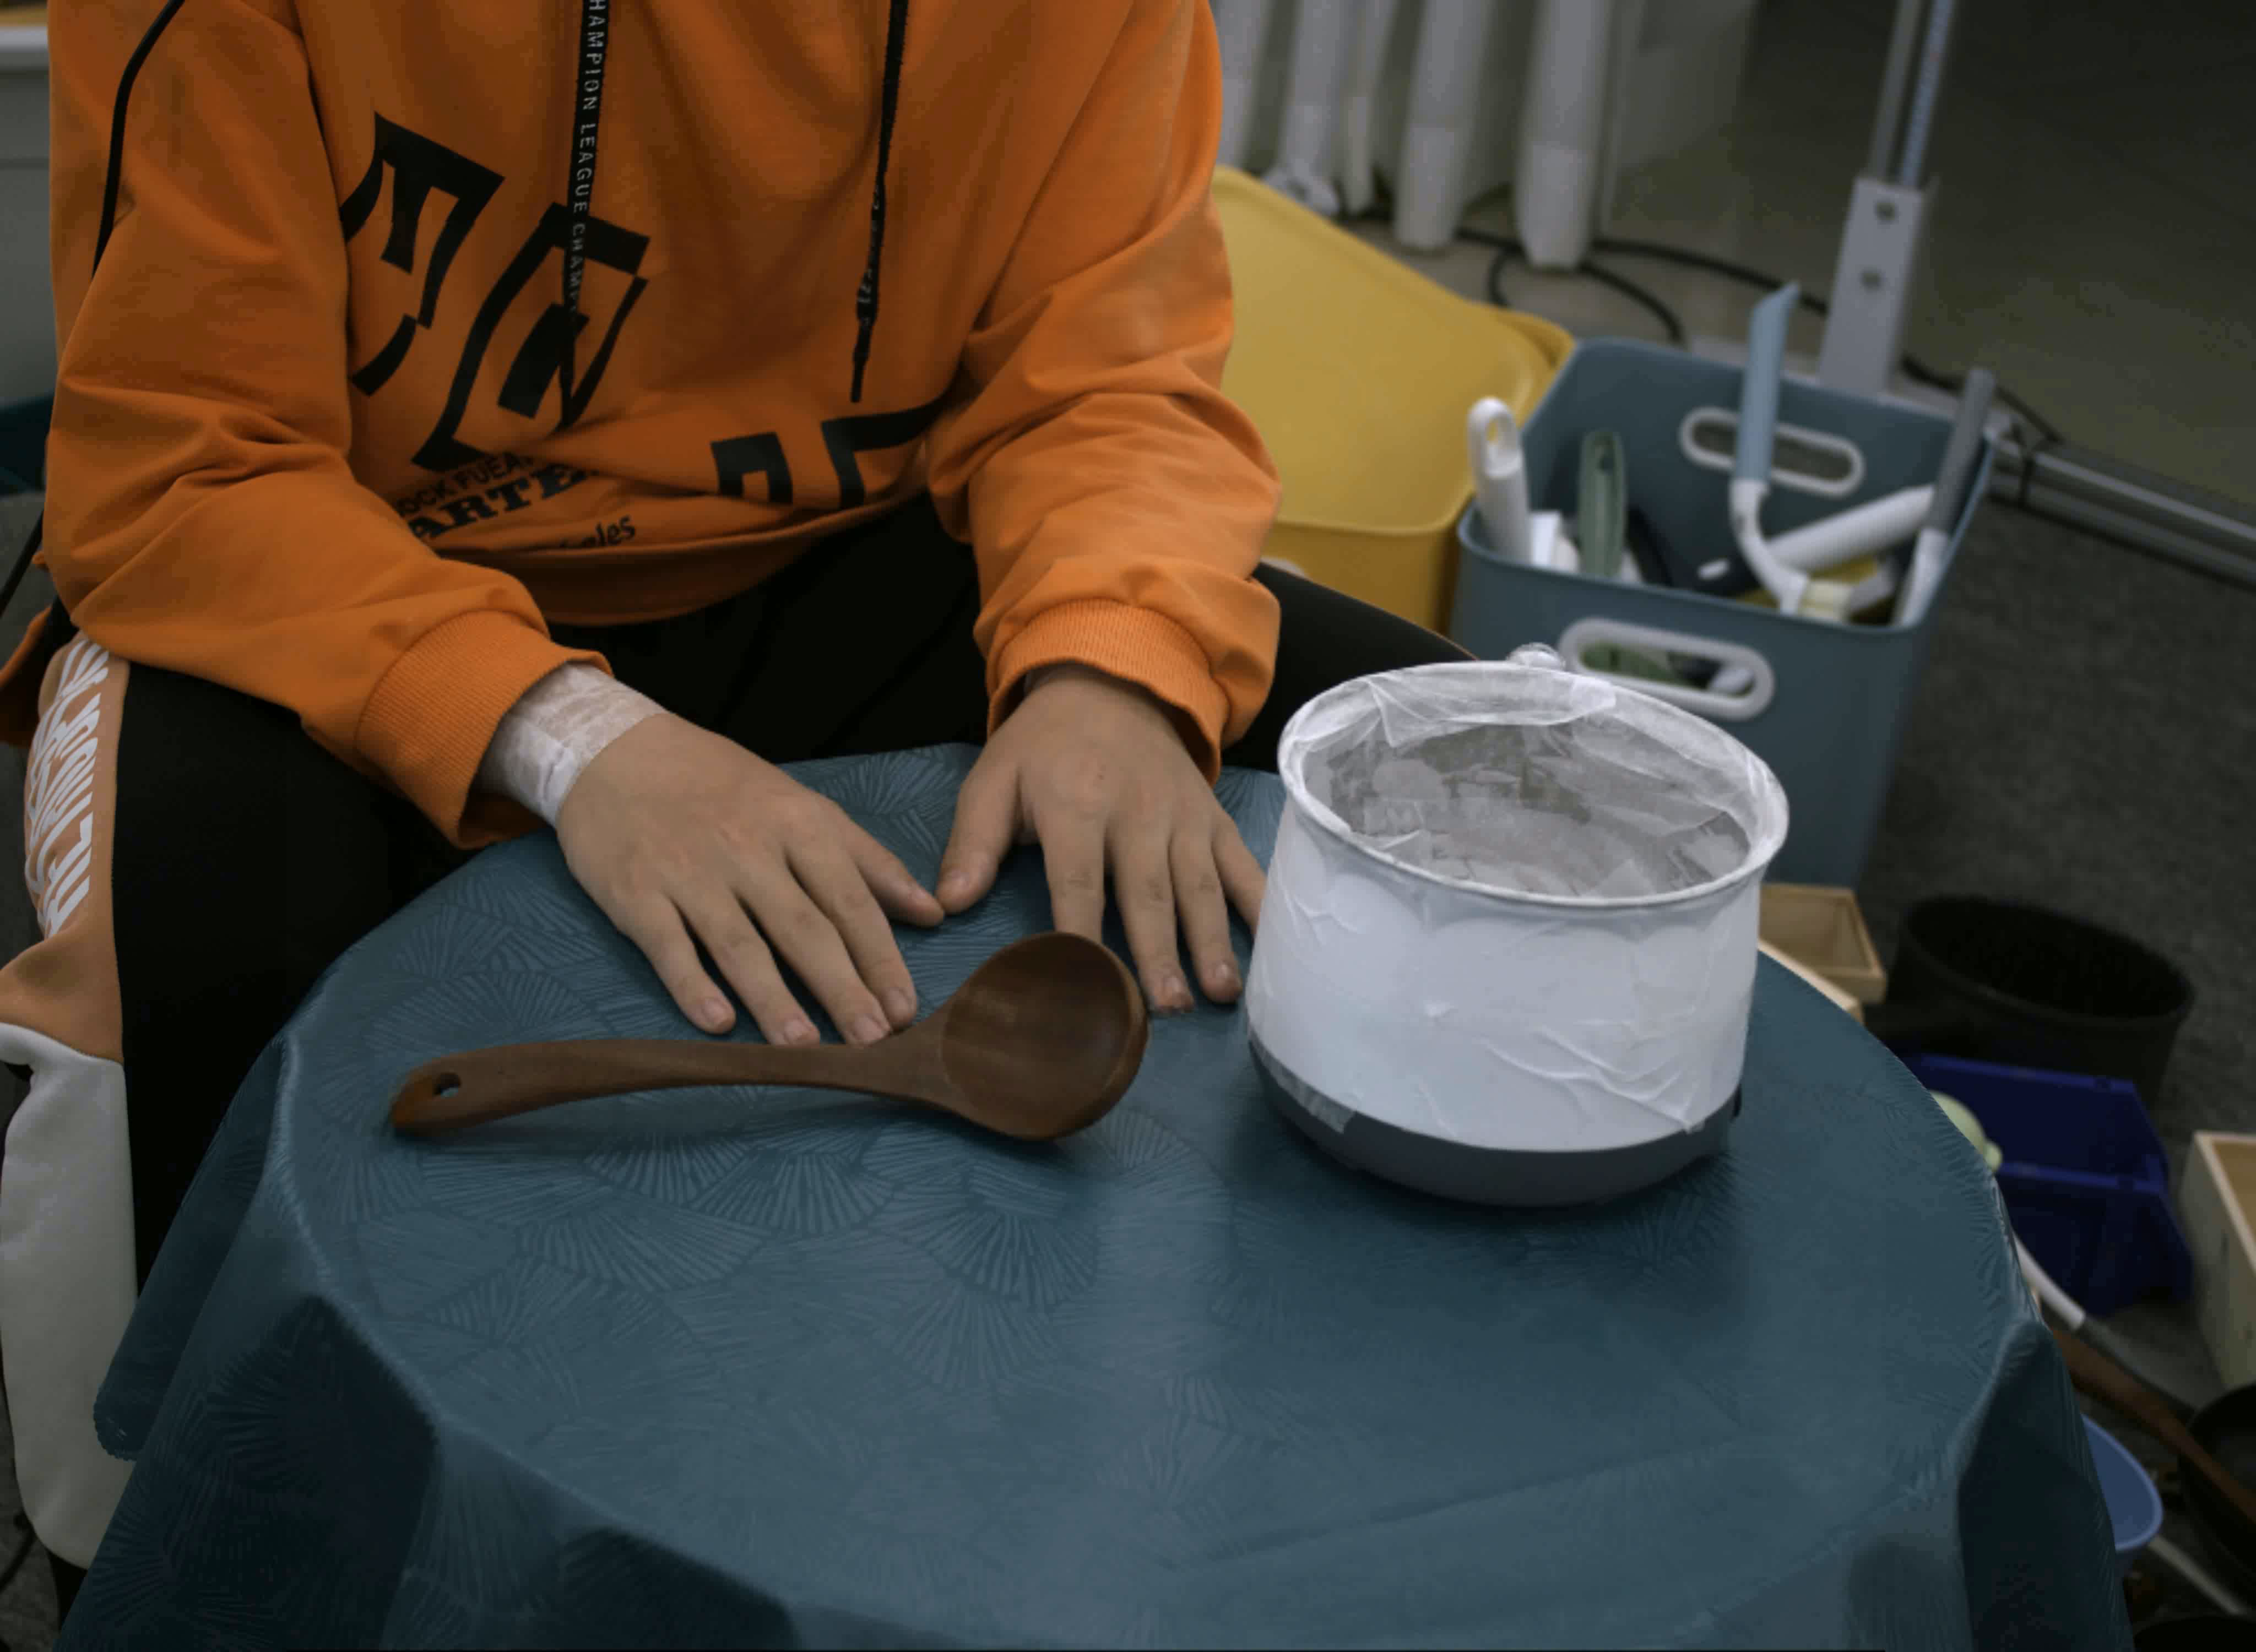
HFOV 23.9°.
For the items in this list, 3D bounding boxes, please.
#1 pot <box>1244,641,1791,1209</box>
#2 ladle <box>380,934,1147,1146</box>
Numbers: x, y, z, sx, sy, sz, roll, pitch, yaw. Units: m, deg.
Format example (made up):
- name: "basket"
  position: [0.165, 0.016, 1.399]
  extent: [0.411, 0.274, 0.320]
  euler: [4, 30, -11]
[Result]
- name: "pot"
  position: [0.133, 0.027, 1.871]
  extent: [0.178, 0.136, 0.235]
  euler: [7, 27, 0]
- name: "ladle"
  position: [-0.121, 0.077, 1.801]
  extent: [0.258, 0.065, 0.077]
  euler: [-1, 54, -16]
